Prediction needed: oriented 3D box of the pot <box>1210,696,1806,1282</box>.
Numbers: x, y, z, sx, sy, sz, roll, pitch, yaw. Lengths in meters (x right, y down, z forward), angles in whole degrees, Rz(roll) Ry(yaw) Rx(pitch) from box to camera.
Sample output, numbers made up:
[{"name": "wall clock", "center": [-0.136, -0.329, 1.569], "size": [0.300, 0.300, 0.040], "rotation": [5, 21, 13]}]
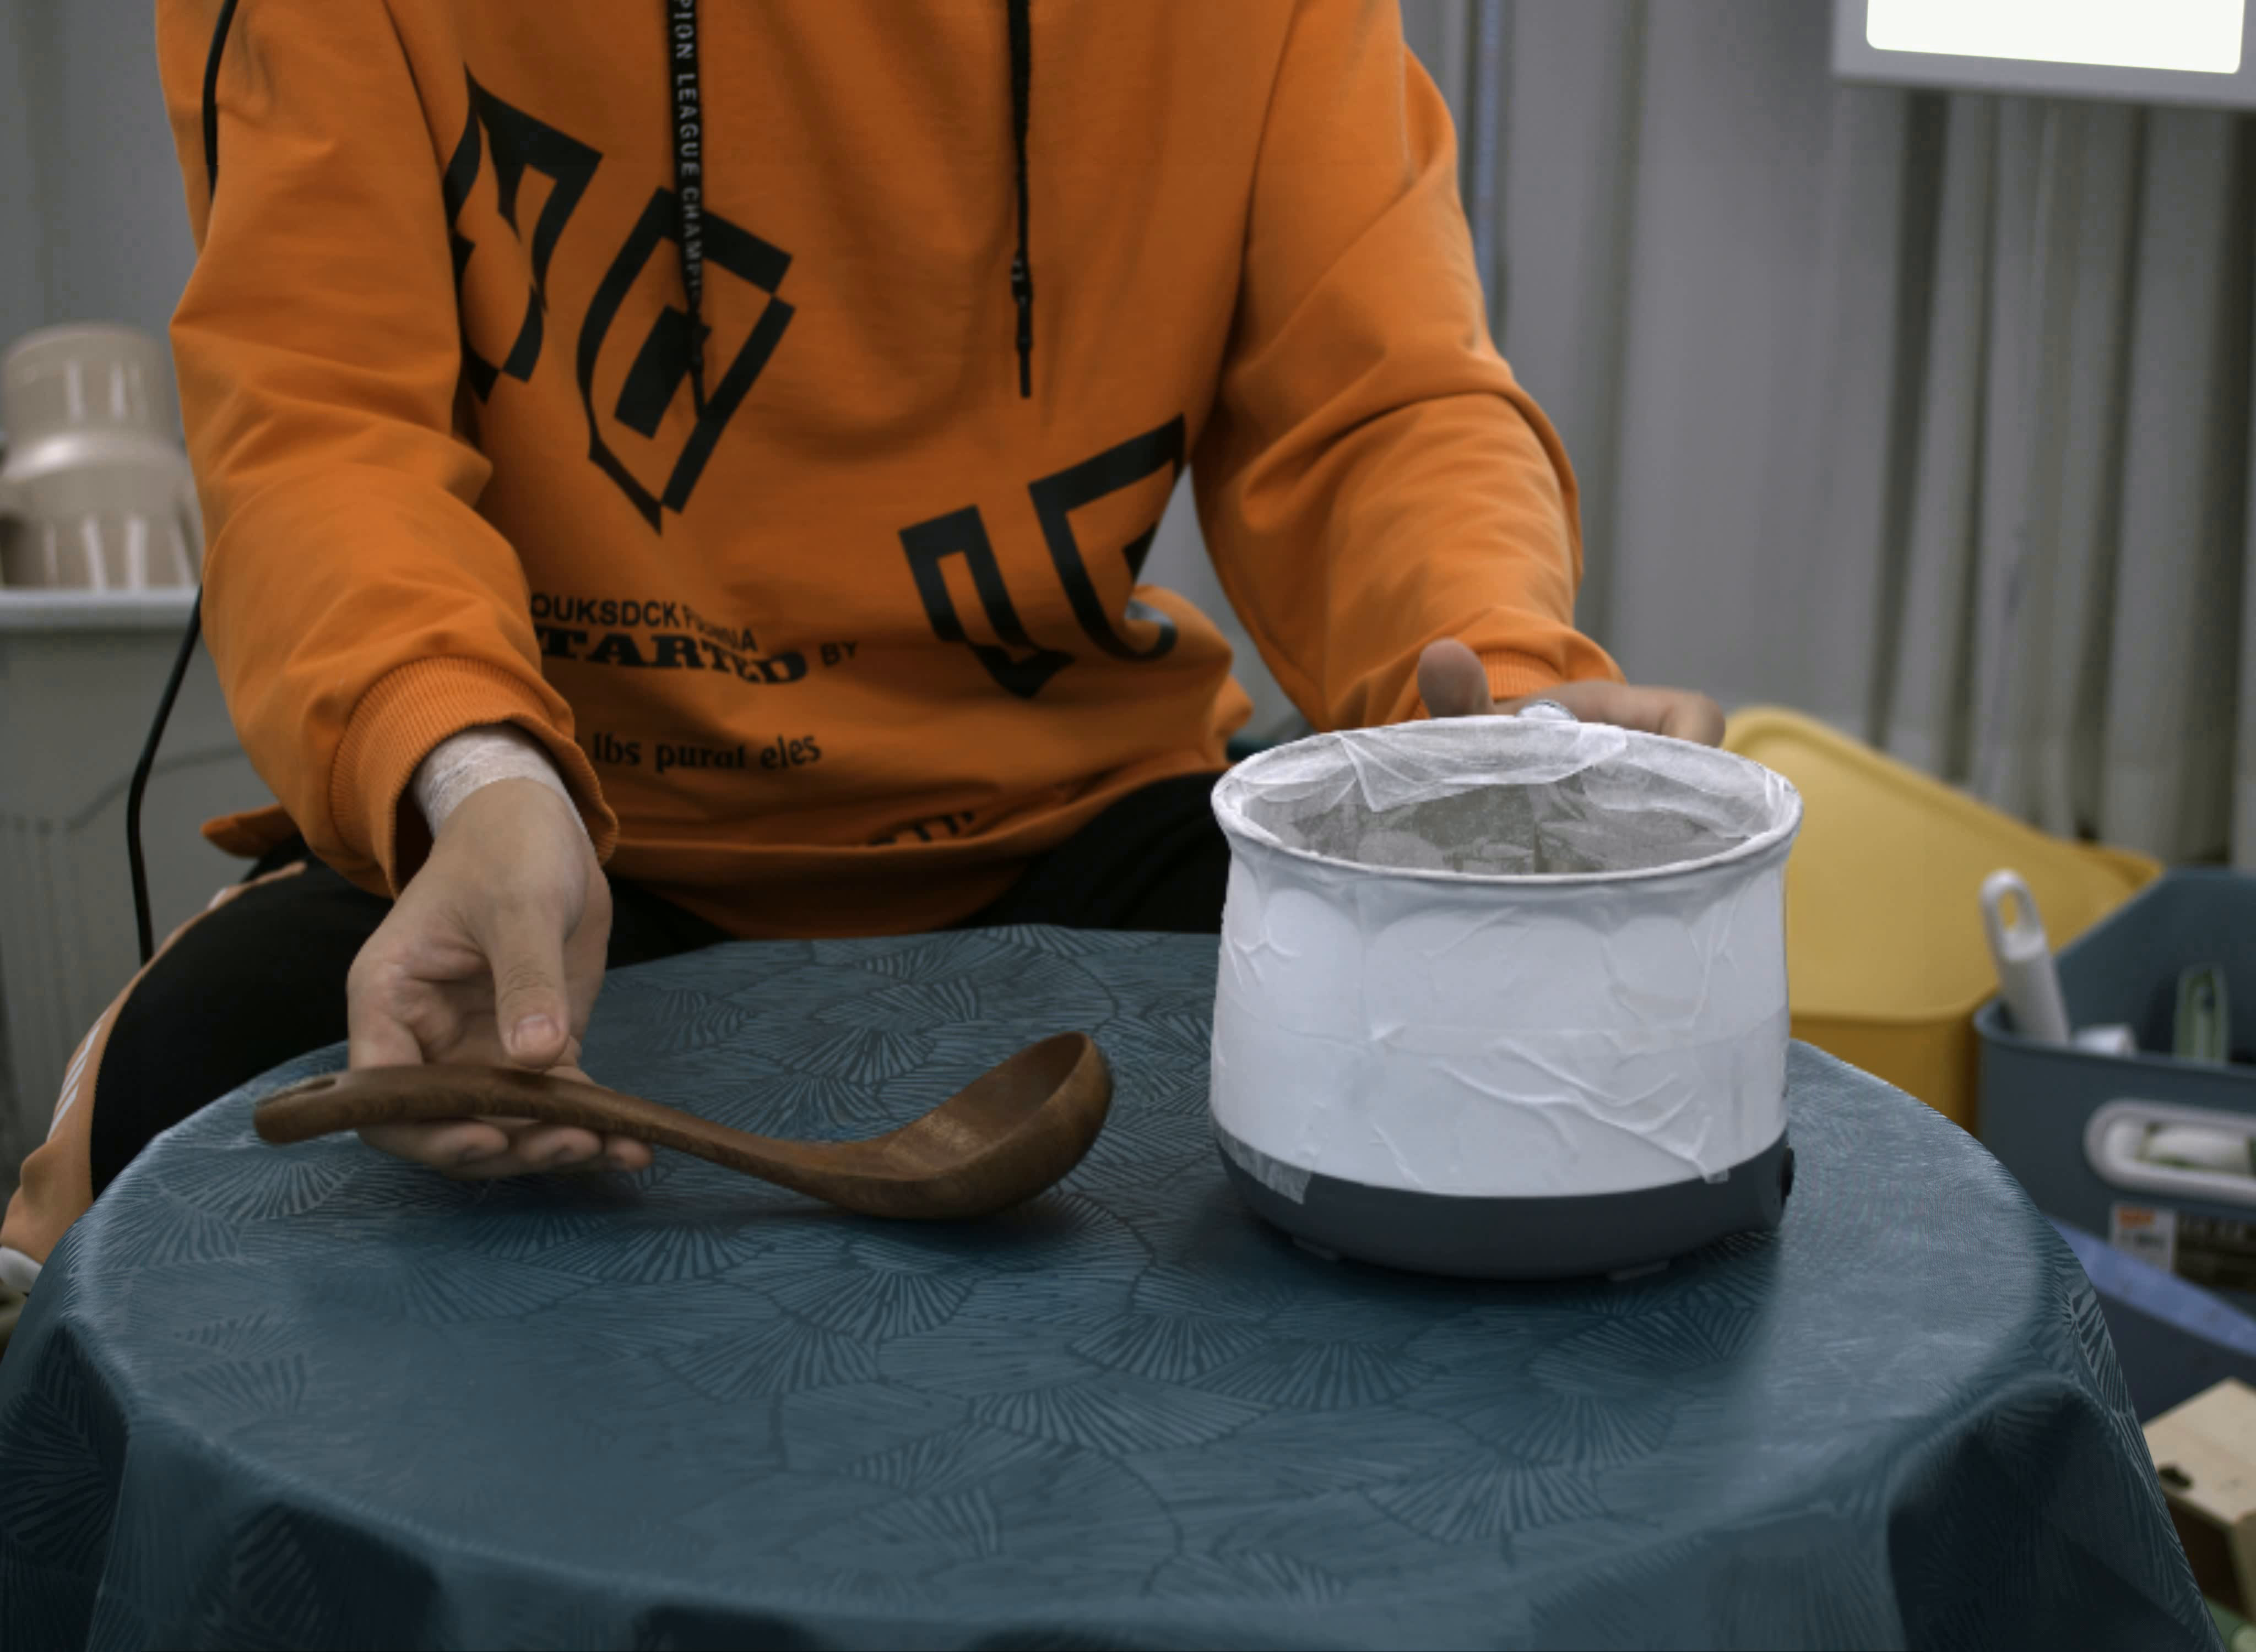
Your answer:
[{"name": "pot", "center": [0.117, 0.044, 1.614], "size": [0.177, 0.138, 0.233], "rotation": [3, 16, 8]}]

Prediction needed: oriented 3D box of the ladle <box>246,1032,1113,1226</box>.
[{"name": "ladle", "center": [-0.134, 0.079, 1.587], "size": [0.259, 0.065, 0.076], "rotation": [8, 12, -2]}]
